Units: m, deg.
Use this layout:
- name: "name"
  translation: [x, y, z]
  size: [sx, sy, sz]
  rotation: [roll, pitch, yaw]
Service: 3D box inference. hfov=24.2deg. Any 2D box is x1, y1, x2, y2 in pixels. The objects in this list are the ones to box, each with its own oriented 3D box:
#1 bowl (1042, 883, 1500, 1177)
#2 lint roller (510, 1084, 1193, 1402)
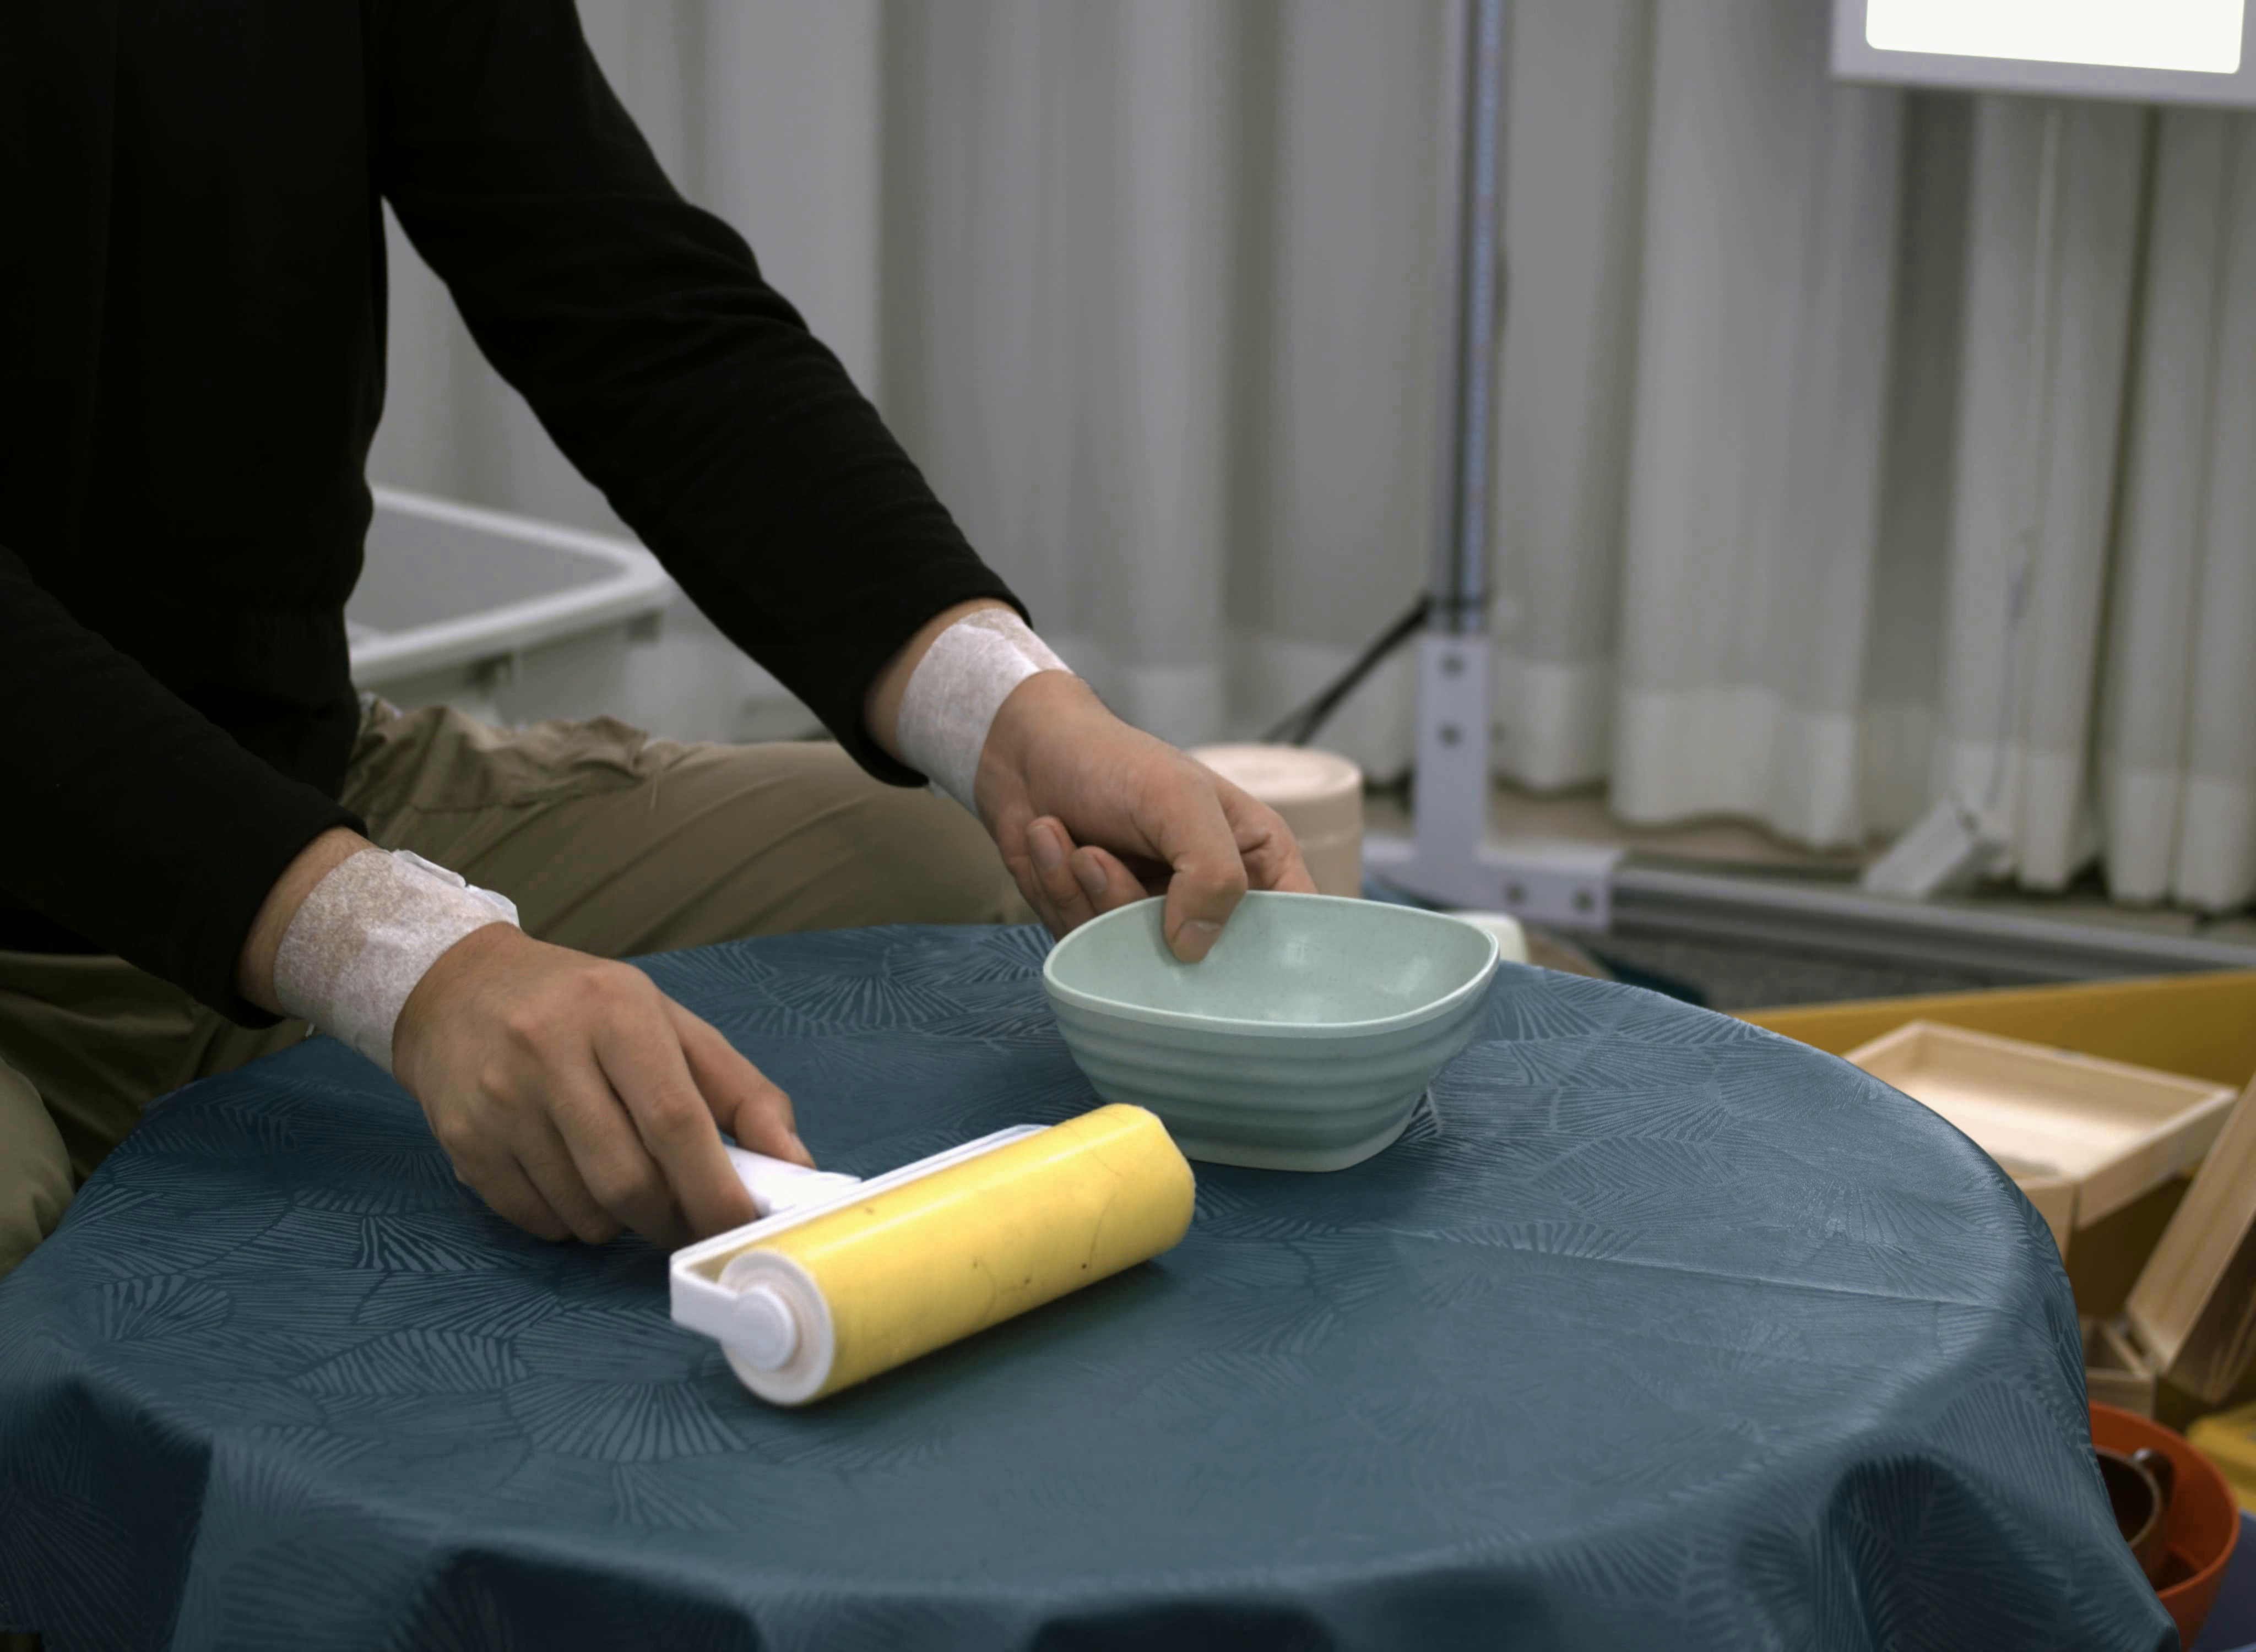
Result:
- name: "bowl"
  translation: [0.045, 0.068, 1.675]
  size: [0.151, 0.059, 0.150]
  rotation: [2, 17, 0]
- name: "lint roller"
  translation: [-0.104, 0.097, 1.532]
  size: [0.189, 0.052, 0.175]
  rotation: [25, 25, 30]
